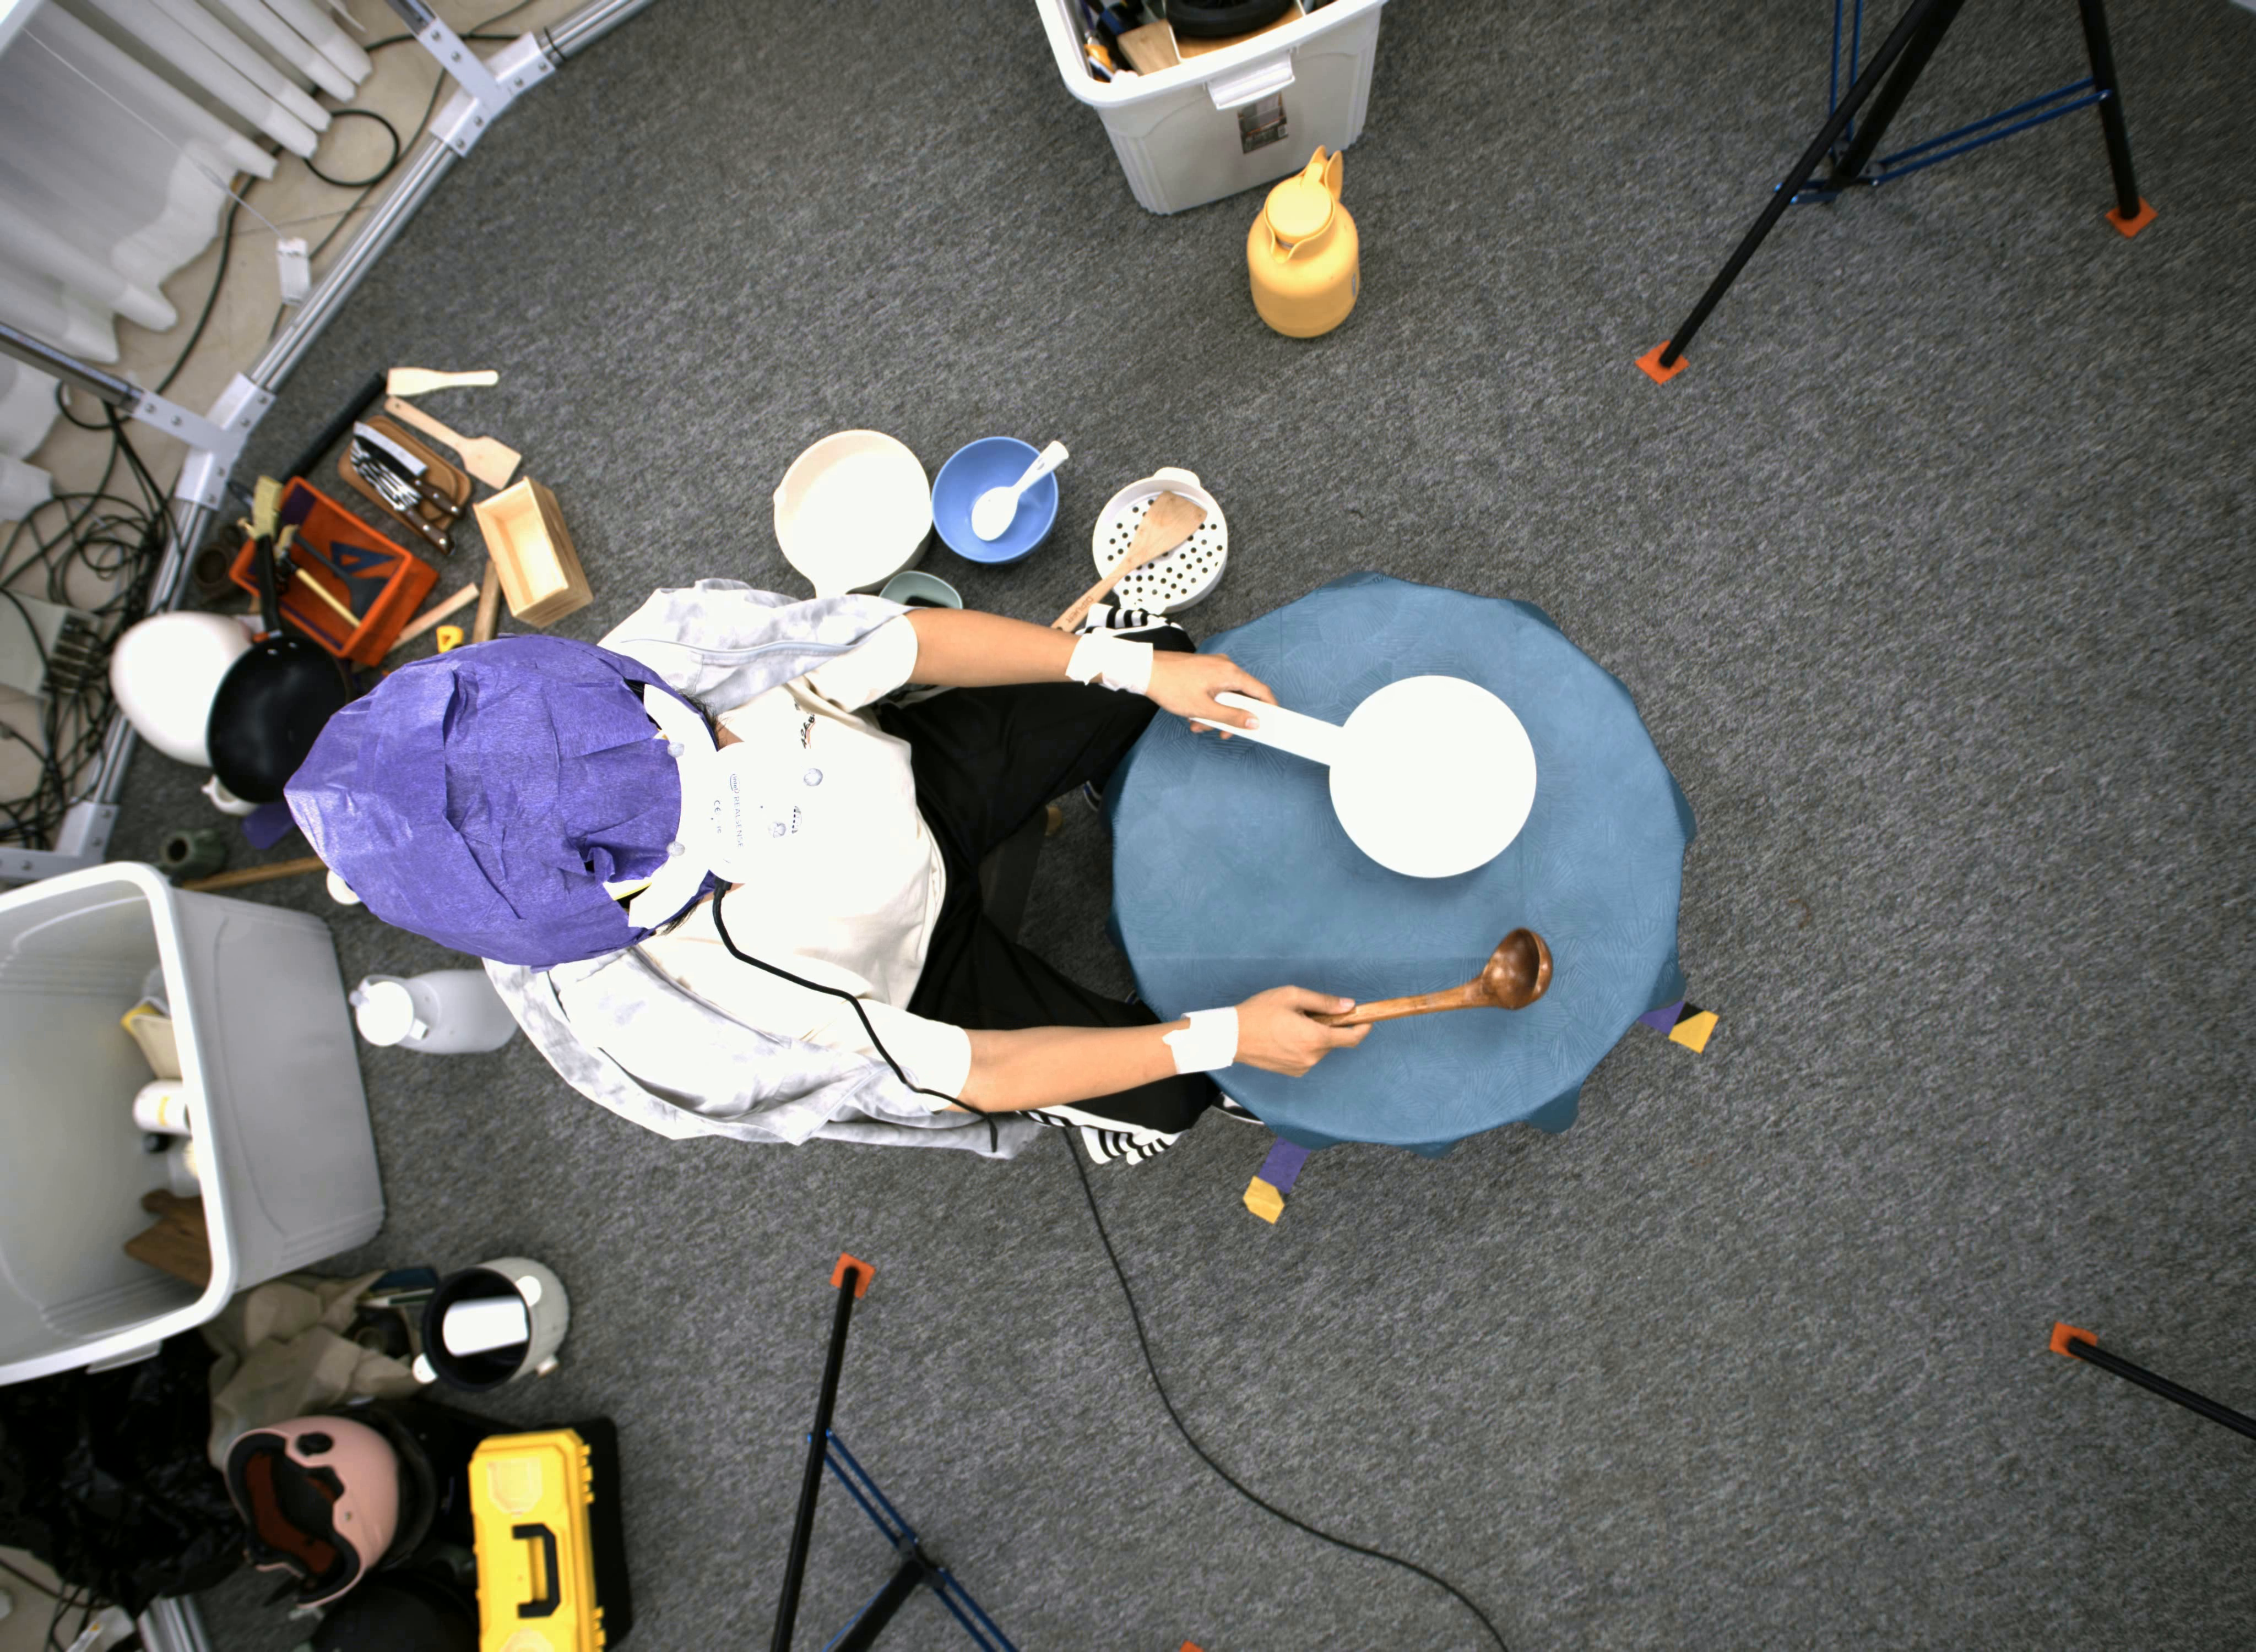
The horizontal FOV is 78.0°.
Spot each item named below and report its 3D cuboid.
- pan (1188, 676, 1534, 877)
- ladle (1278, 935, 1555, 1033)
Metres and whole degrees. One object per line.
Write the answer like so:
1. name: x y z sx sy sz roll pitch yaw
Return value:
1. pan: 0.237 -0.072 1.424 0.355 0.102 0.201 19 91 12
2. ladle: 0.281 0.160 1.362 0.275 0.080 0.078 -7 130 9
